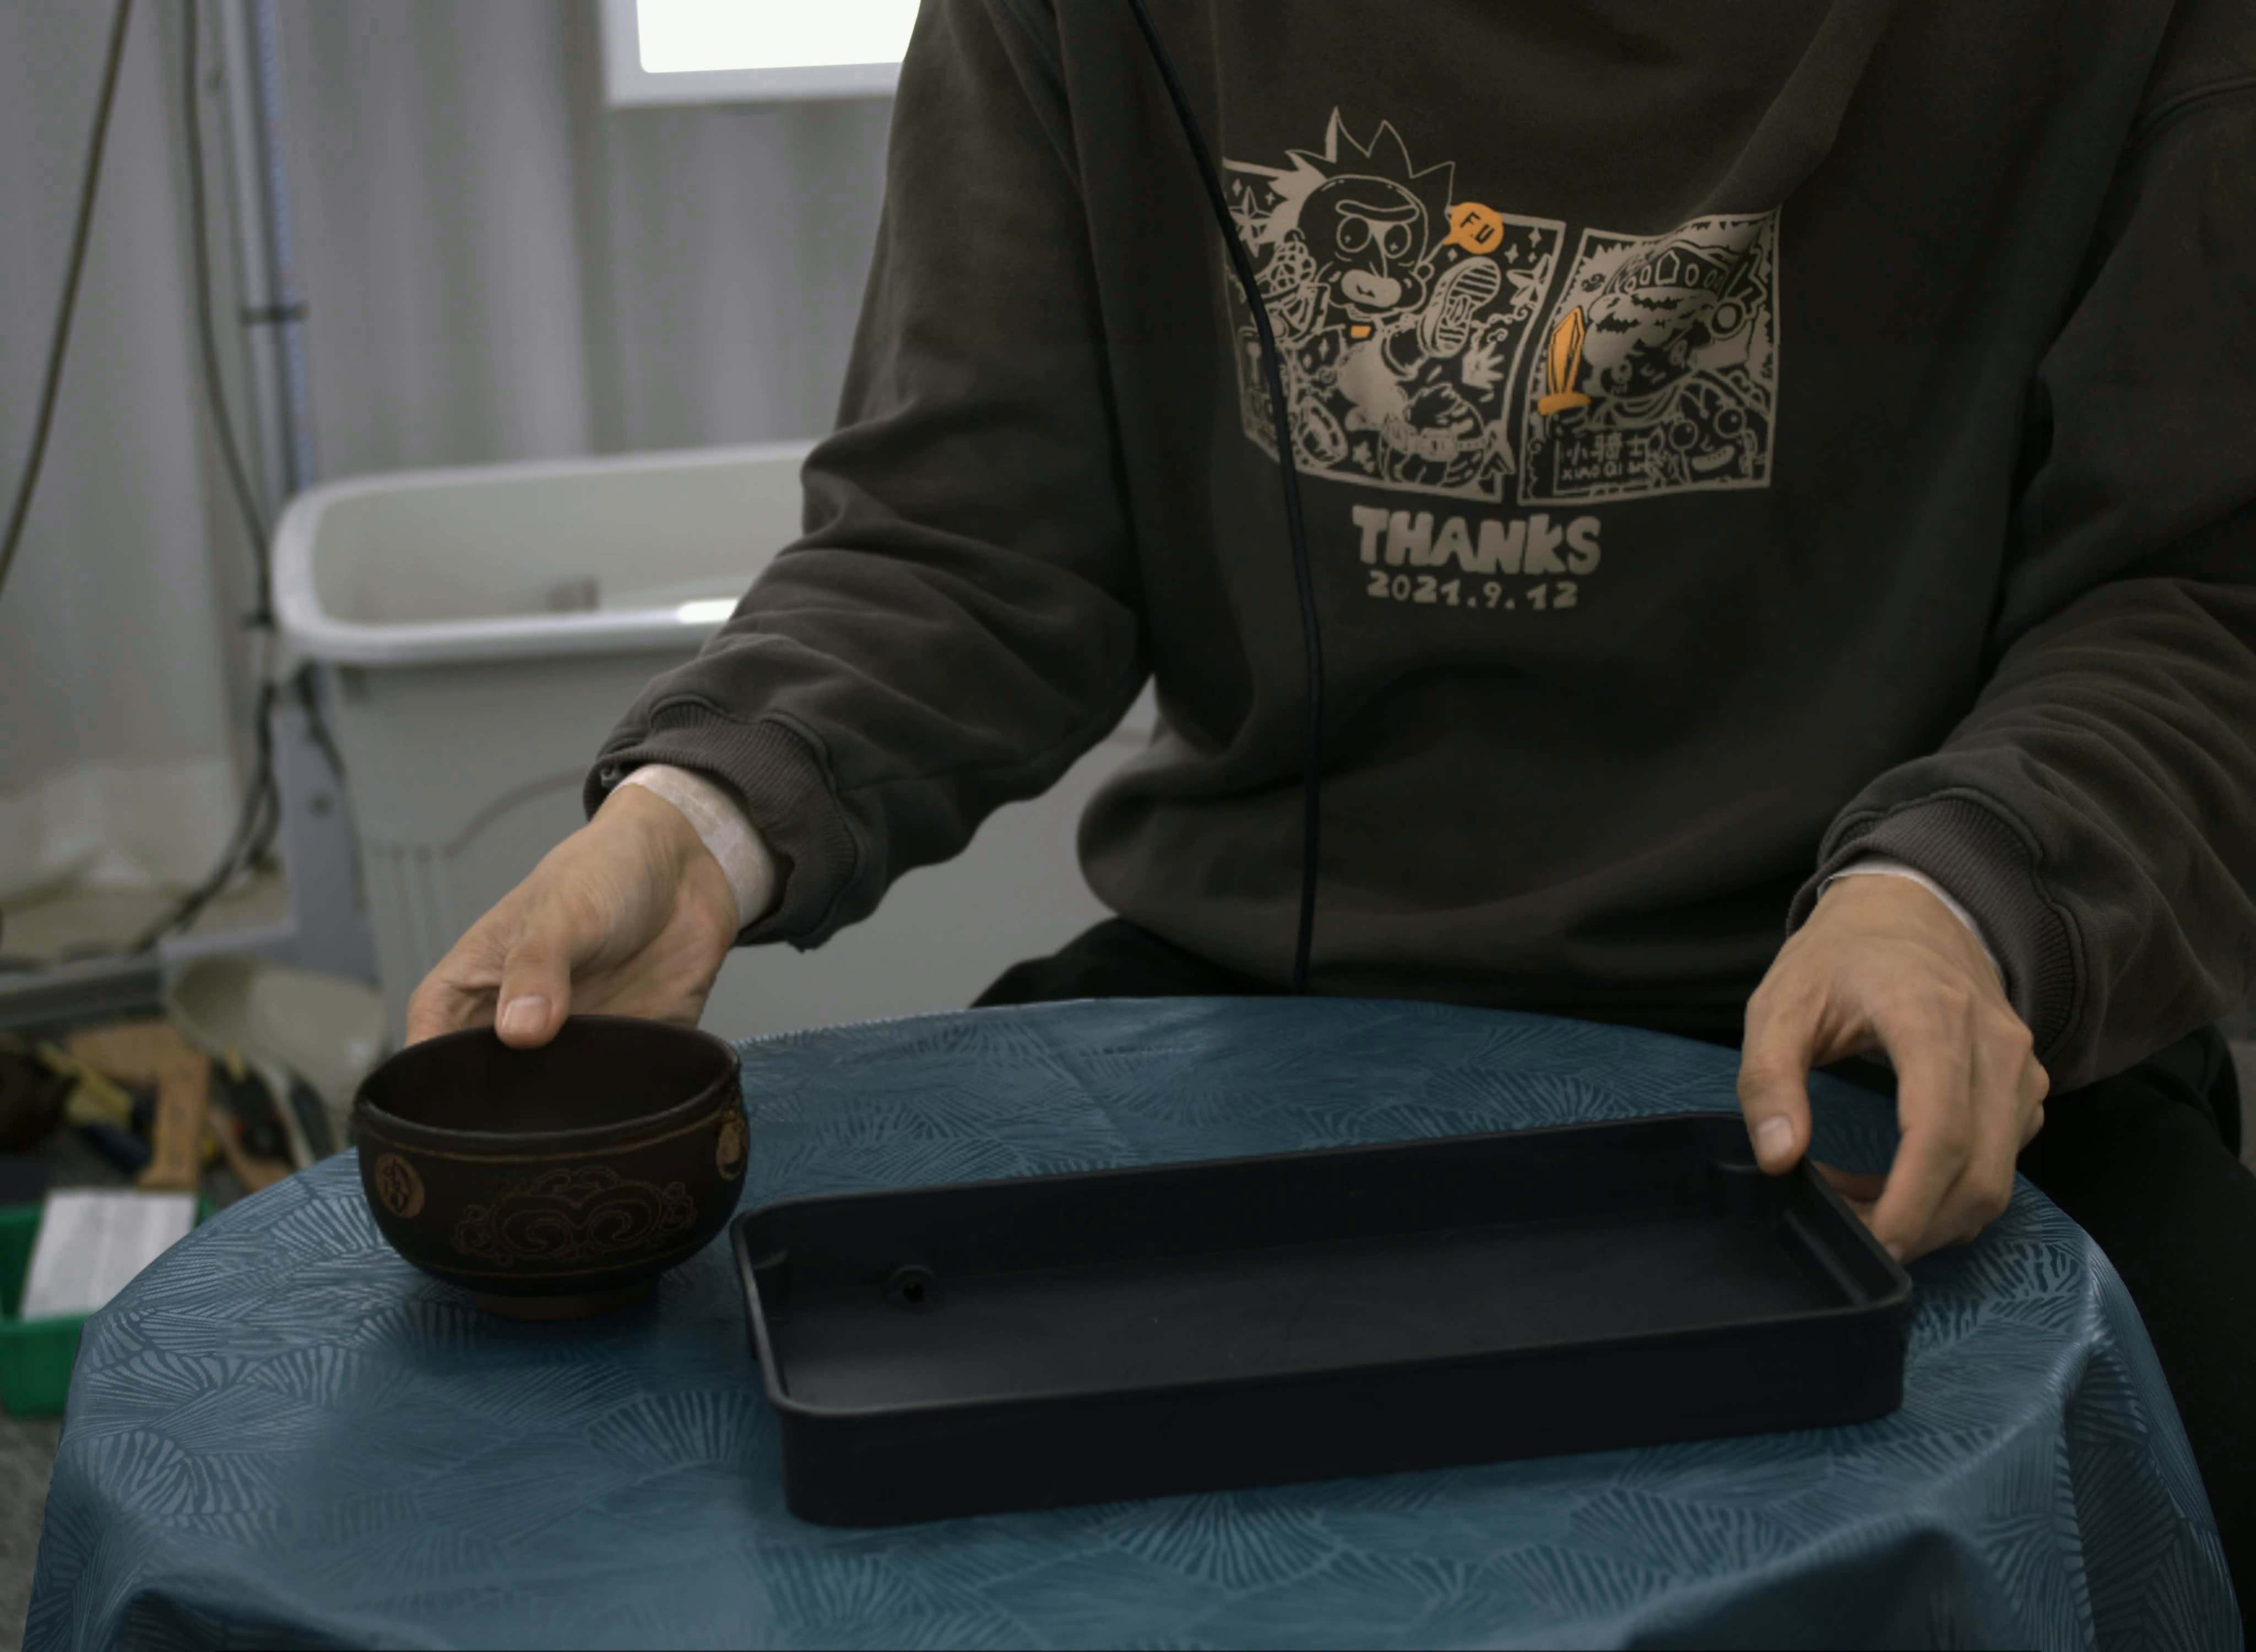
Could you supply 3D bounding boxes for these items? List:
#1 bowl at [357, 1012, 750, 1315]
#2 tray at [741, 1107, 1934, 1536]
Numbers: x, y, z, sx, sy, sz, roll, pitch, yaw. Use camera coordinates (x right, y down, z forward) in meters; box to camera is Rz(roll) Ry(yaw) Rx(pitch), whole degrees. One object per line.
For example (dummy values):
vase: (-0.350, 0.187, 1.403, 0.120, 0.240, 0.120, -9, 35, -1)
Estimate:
bowl: (-0.172, 0.106, 1.649, 0.117, 0.069, 0.119, -2, 15, 0)
tray: (0.056, 0.138, 1.559, 0.316, 0.037, 0.185, -6, 15, -9)
